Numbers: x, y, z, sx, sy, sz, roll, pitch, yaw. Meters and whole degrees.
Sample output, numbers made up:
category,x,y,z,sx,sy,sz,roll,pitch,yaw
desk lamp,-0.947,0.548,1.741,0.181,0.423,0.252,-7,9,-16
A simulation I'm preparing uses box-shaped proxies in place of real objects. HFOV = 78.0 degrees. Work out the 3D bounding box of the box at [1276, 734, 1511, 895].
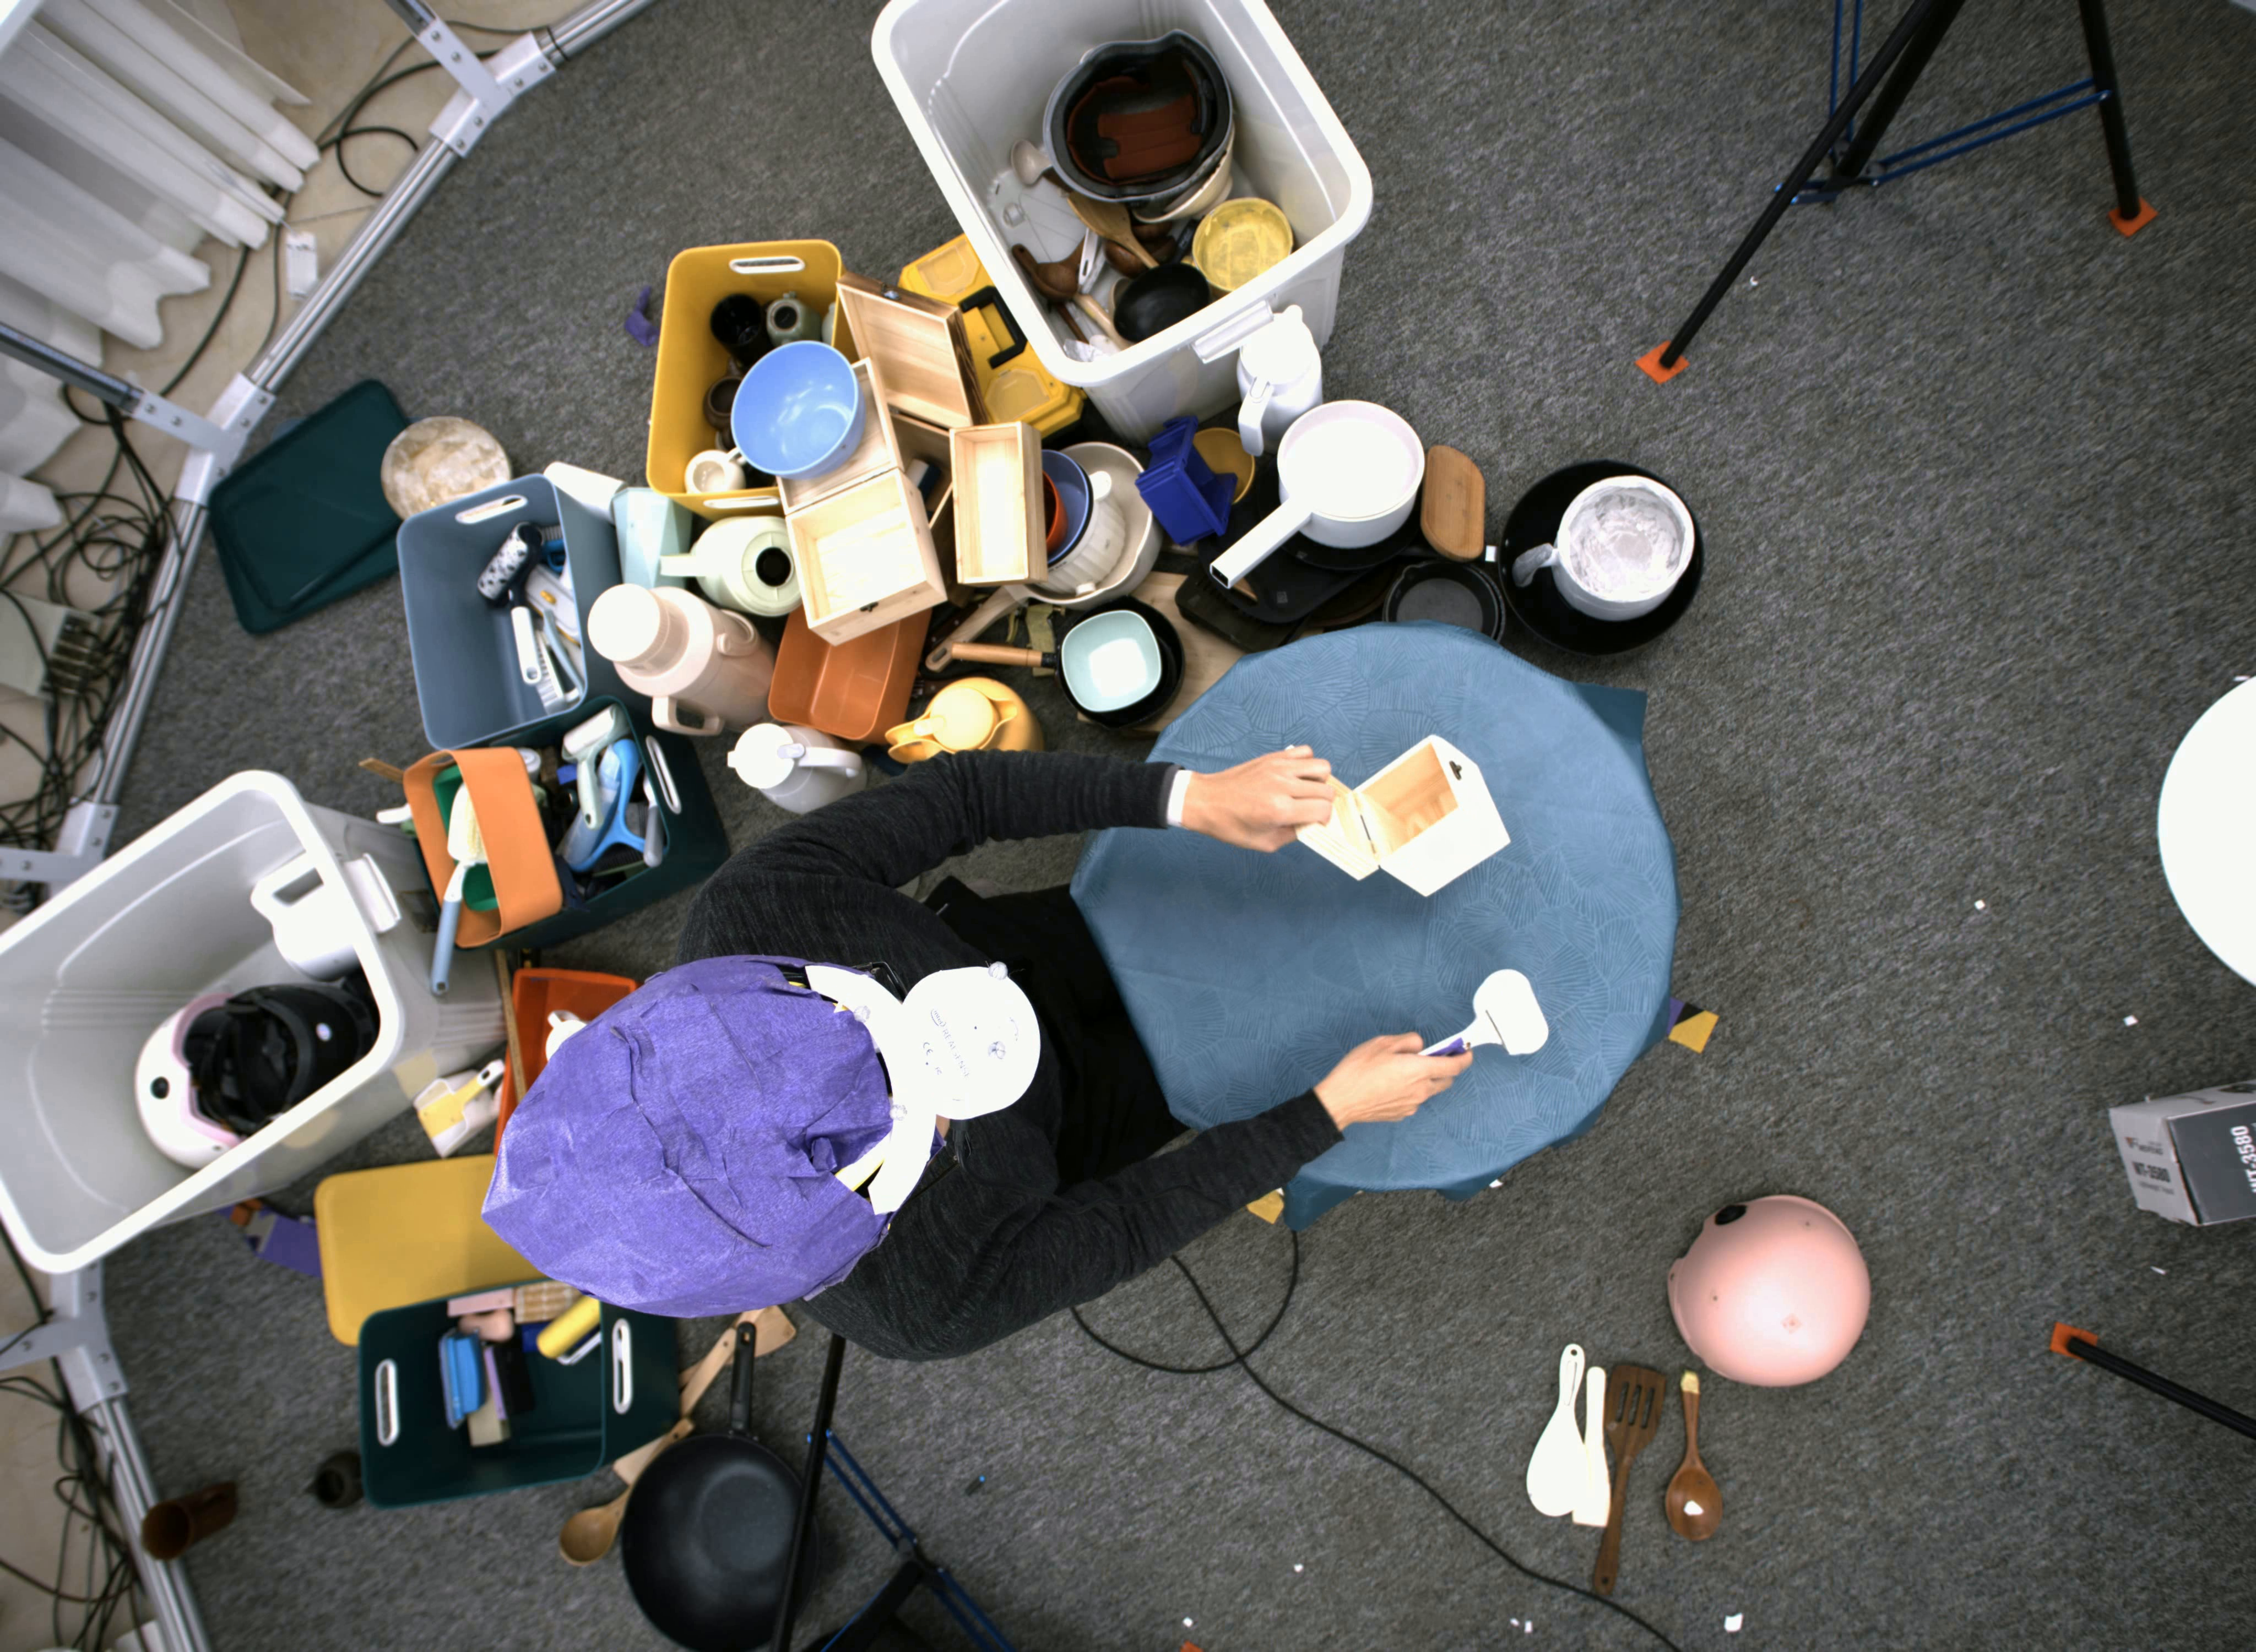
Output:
category,x,y,z,sx,sy,sz,roll,pitch,yaw
box,0.251,-0.027,1.300,0.136,0.185,0.100,-36,45,28

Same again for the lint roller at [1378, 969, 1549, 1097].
category,x,y,z,sx,sy,sz,roll,pitch,yaw
lint roller,0.329,0.219,1.356,0.181,0.135,0.049,-36,49,0
